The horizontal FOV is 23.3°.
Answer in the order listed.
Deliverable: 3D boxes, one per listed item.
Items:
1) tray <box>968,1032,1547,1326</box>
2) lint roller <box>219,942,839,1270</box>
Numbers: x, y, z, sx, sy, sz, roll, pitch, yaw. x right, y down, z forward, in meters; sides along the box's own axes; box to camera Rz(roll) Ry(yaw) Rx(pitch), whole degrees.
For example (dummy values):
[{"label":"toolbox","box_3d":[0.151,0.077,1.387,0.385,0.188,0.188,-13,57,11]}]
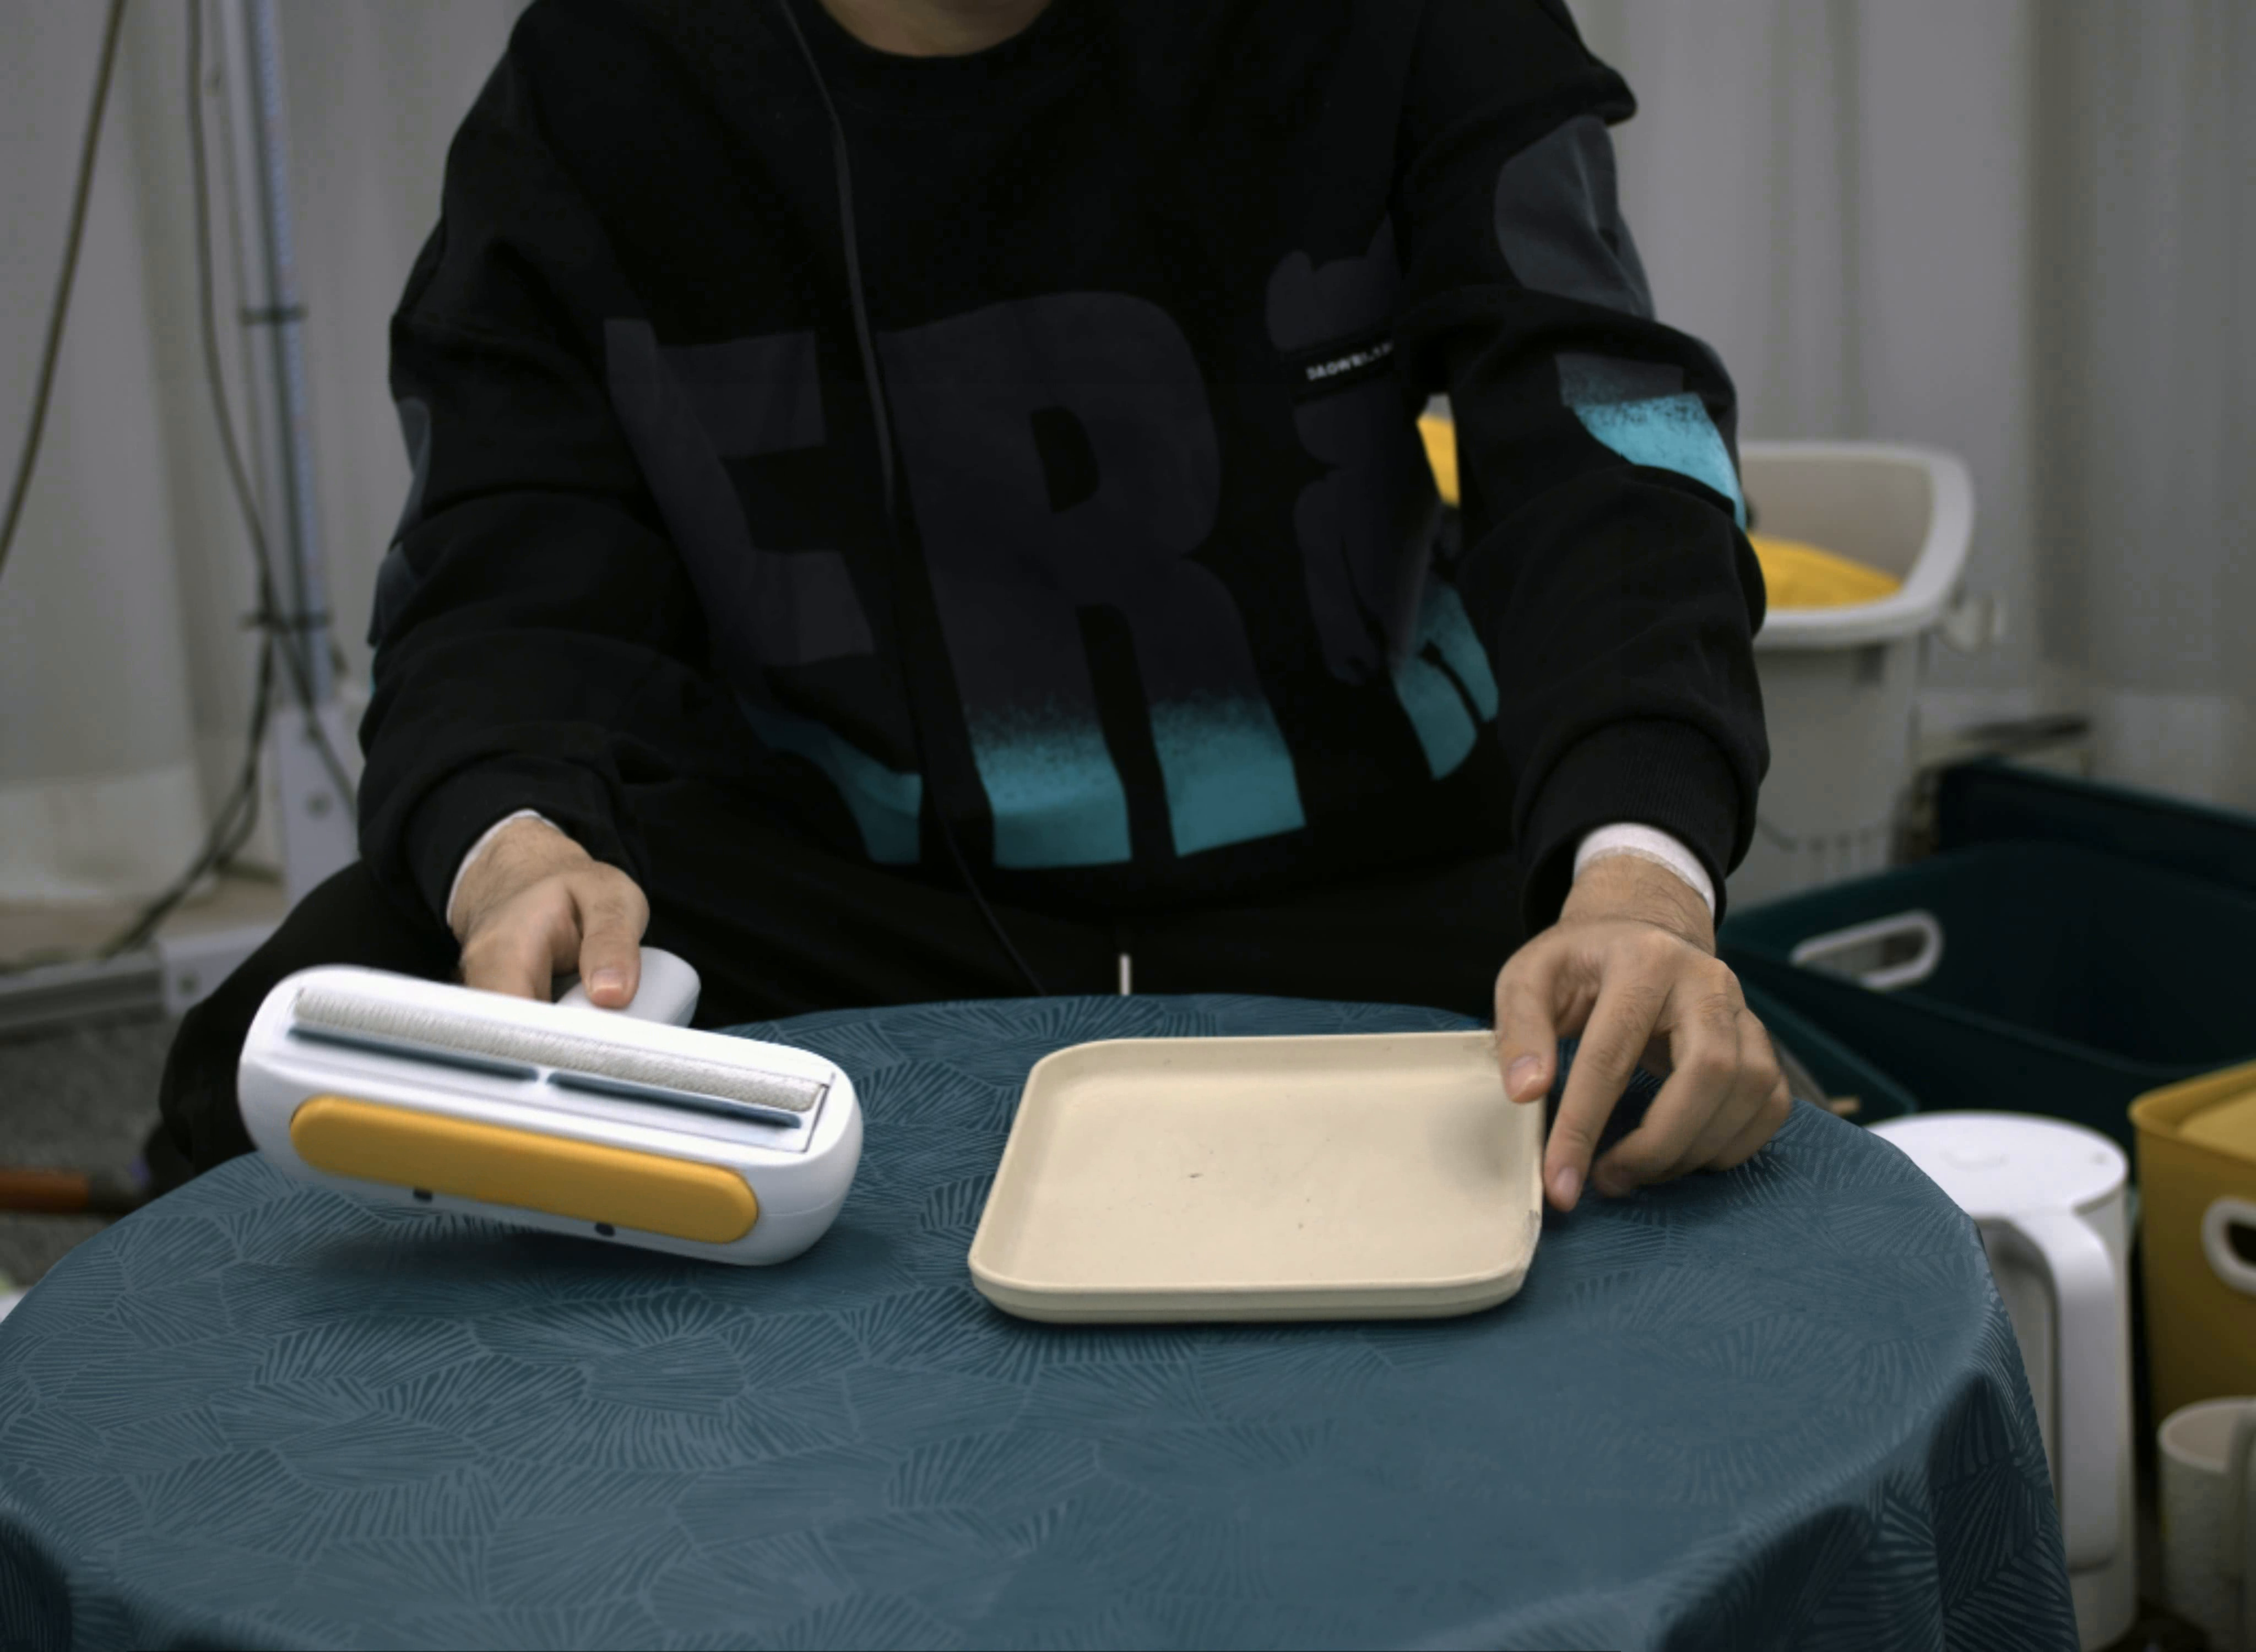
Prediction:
[{"label":"tray","box_3d":[0.044,0.109,1.694,0.171,0.017,0.241,-2,15,6]},{"label":"lint roller","box_3d":[-0.172,0.069,1.735,0.193,0.073,0.194,9,26,10]}]
